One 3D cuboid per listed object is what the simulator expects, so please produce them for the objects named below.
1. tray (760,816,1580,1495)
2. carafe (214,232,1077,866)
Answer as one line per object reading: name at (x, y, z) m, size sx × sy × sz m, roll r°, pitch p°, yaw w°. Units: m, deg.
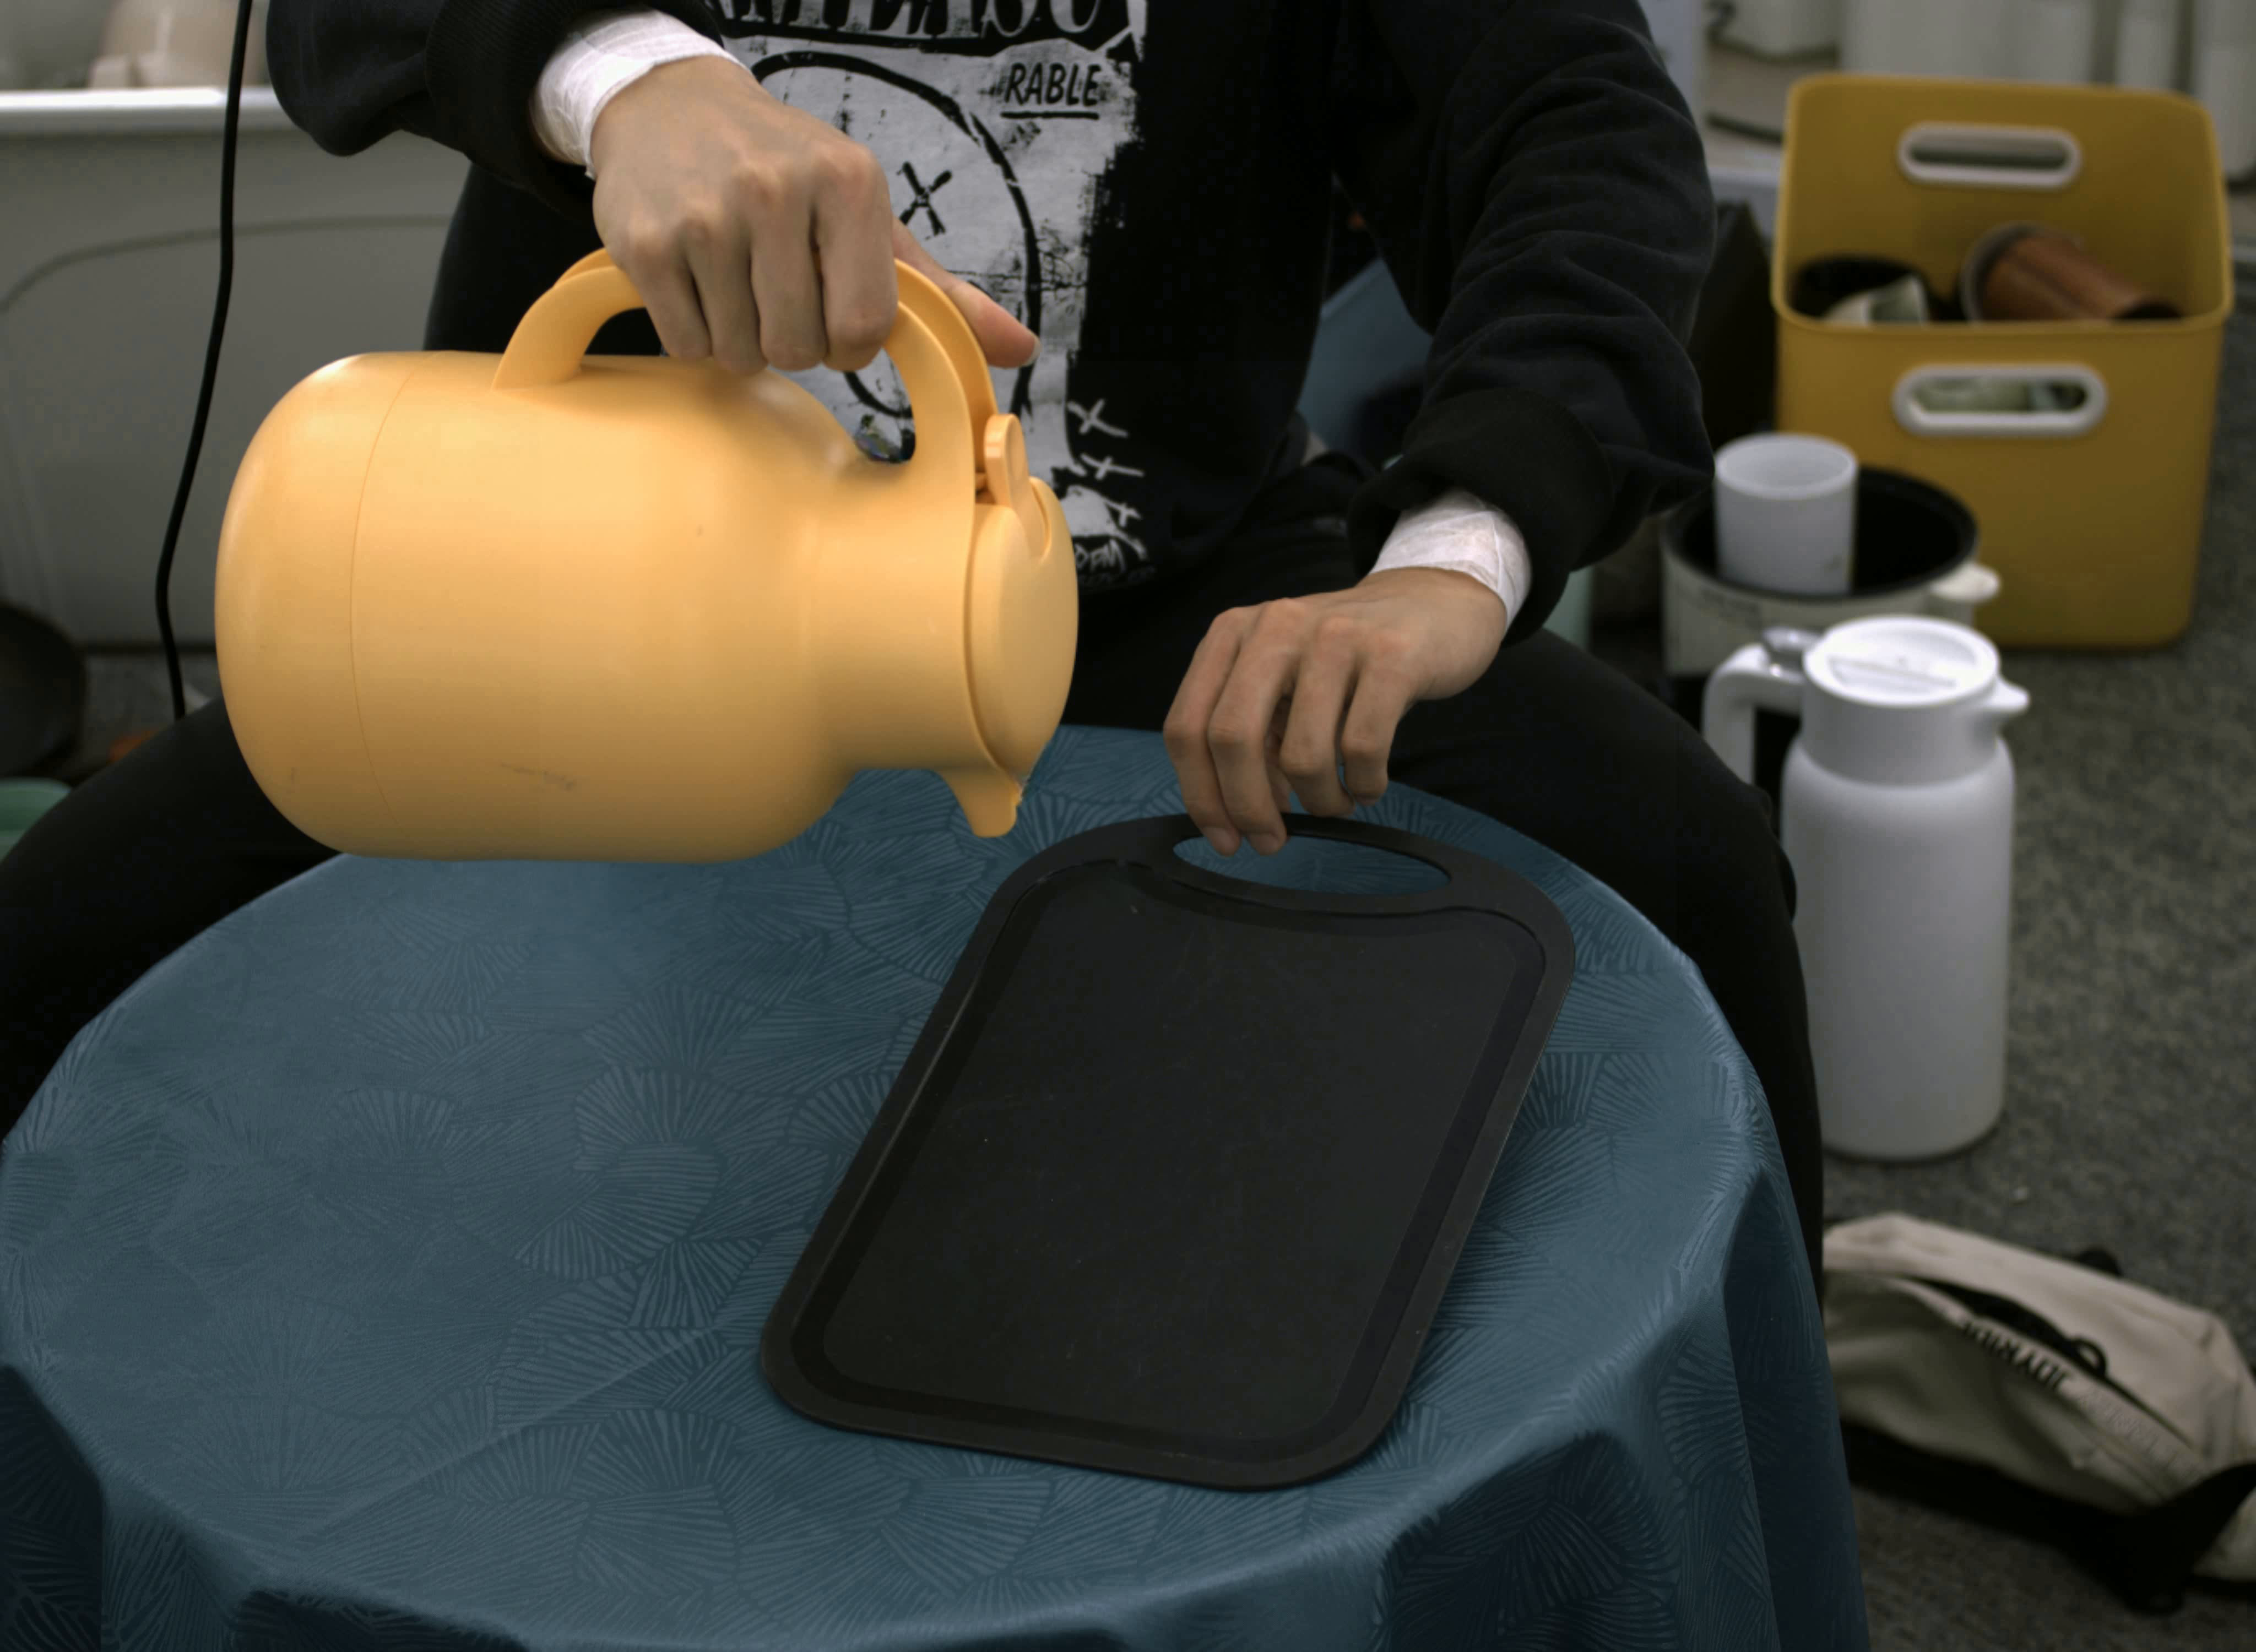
tray at (0.020, 0.095, 1.841) m, size 0.209 × 0.009 × 0.332 m, roll 7°, pitch 39°, yaw 18°
carafe at (-0.148, -0.087, 1.771) m, size 0.258 × 0.201 × 0.166 m, roll 2°, pitch 21°, yaw 13°
